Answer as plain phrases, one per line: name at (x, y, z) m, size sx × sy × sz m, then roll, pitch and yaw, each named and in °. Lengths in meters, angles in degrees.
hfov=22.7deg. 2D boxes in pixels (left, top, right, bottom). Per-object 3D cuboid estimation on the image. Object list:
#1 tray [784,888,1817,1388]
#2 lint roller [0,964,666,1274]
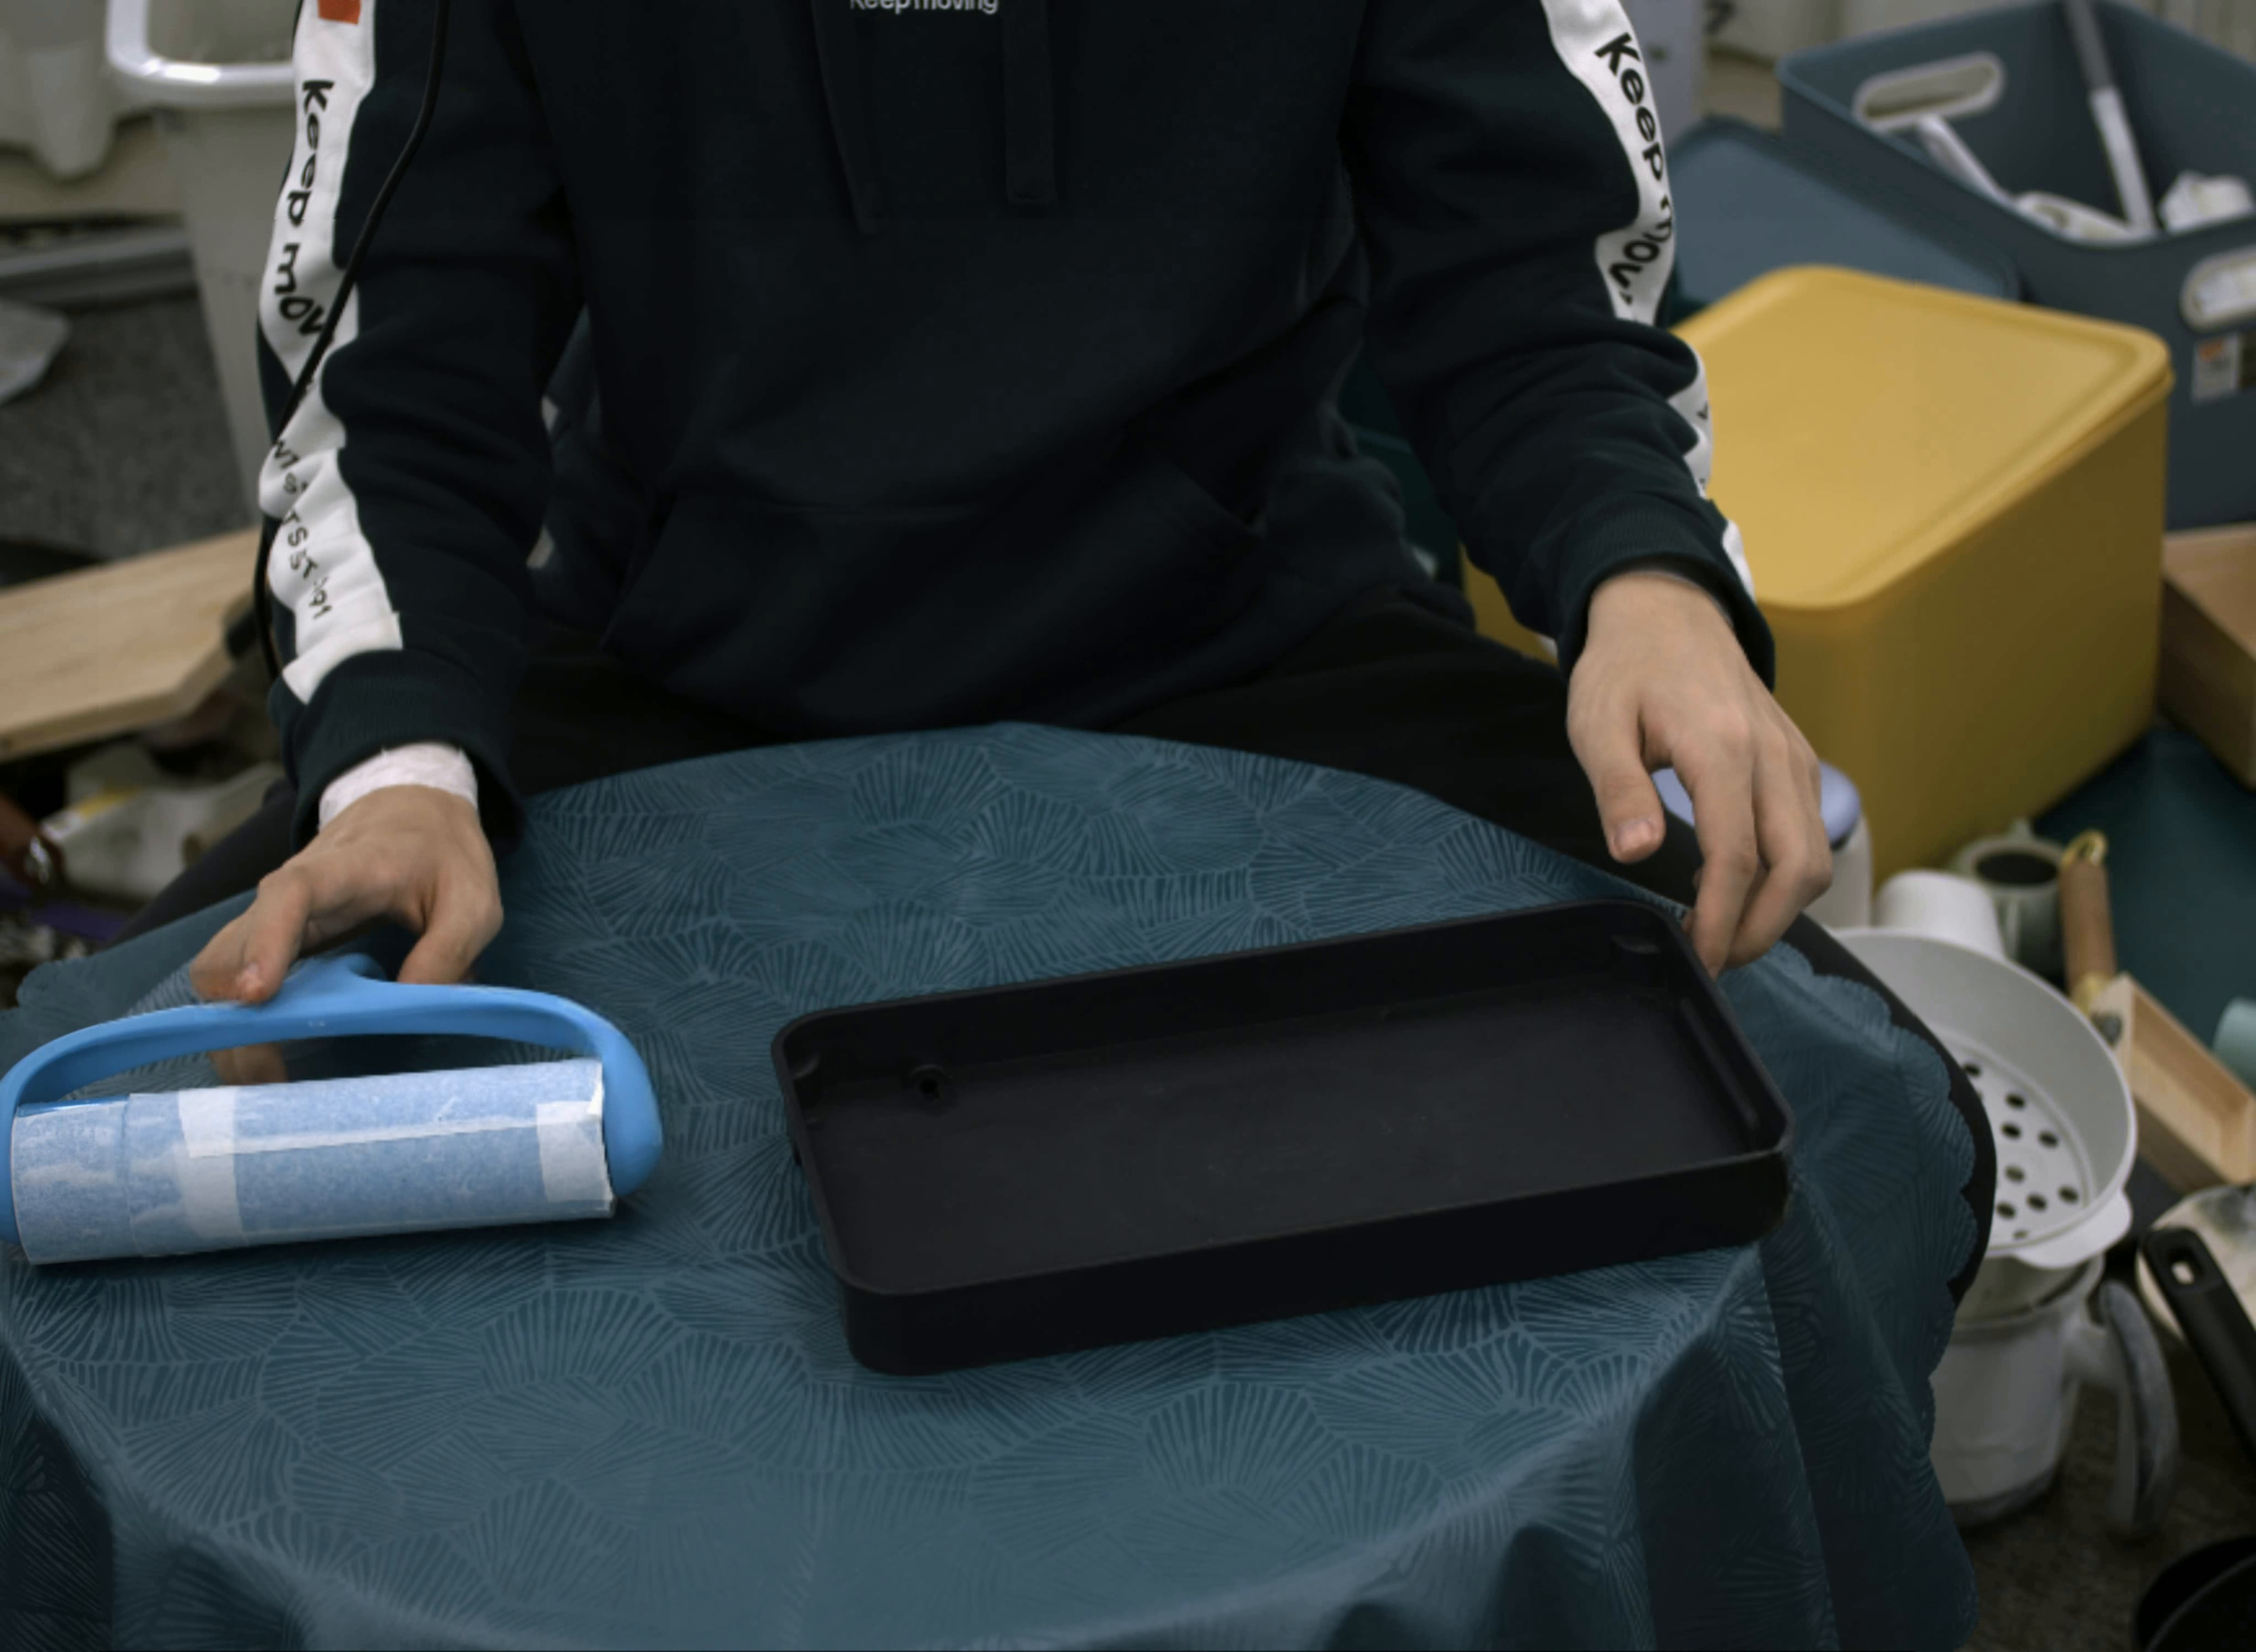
tray at (0.054, 0.100, 1.860) m, size 0.318 × 0.036 × 0.186 m, roll -10°, pitch 28°, yaw -10°
lint roller at (-0.273, 0.083, 1.901) m, size 0.228 × 0.067 × 0.183 m, roll -7°, pitch 29°, yaw -4°
